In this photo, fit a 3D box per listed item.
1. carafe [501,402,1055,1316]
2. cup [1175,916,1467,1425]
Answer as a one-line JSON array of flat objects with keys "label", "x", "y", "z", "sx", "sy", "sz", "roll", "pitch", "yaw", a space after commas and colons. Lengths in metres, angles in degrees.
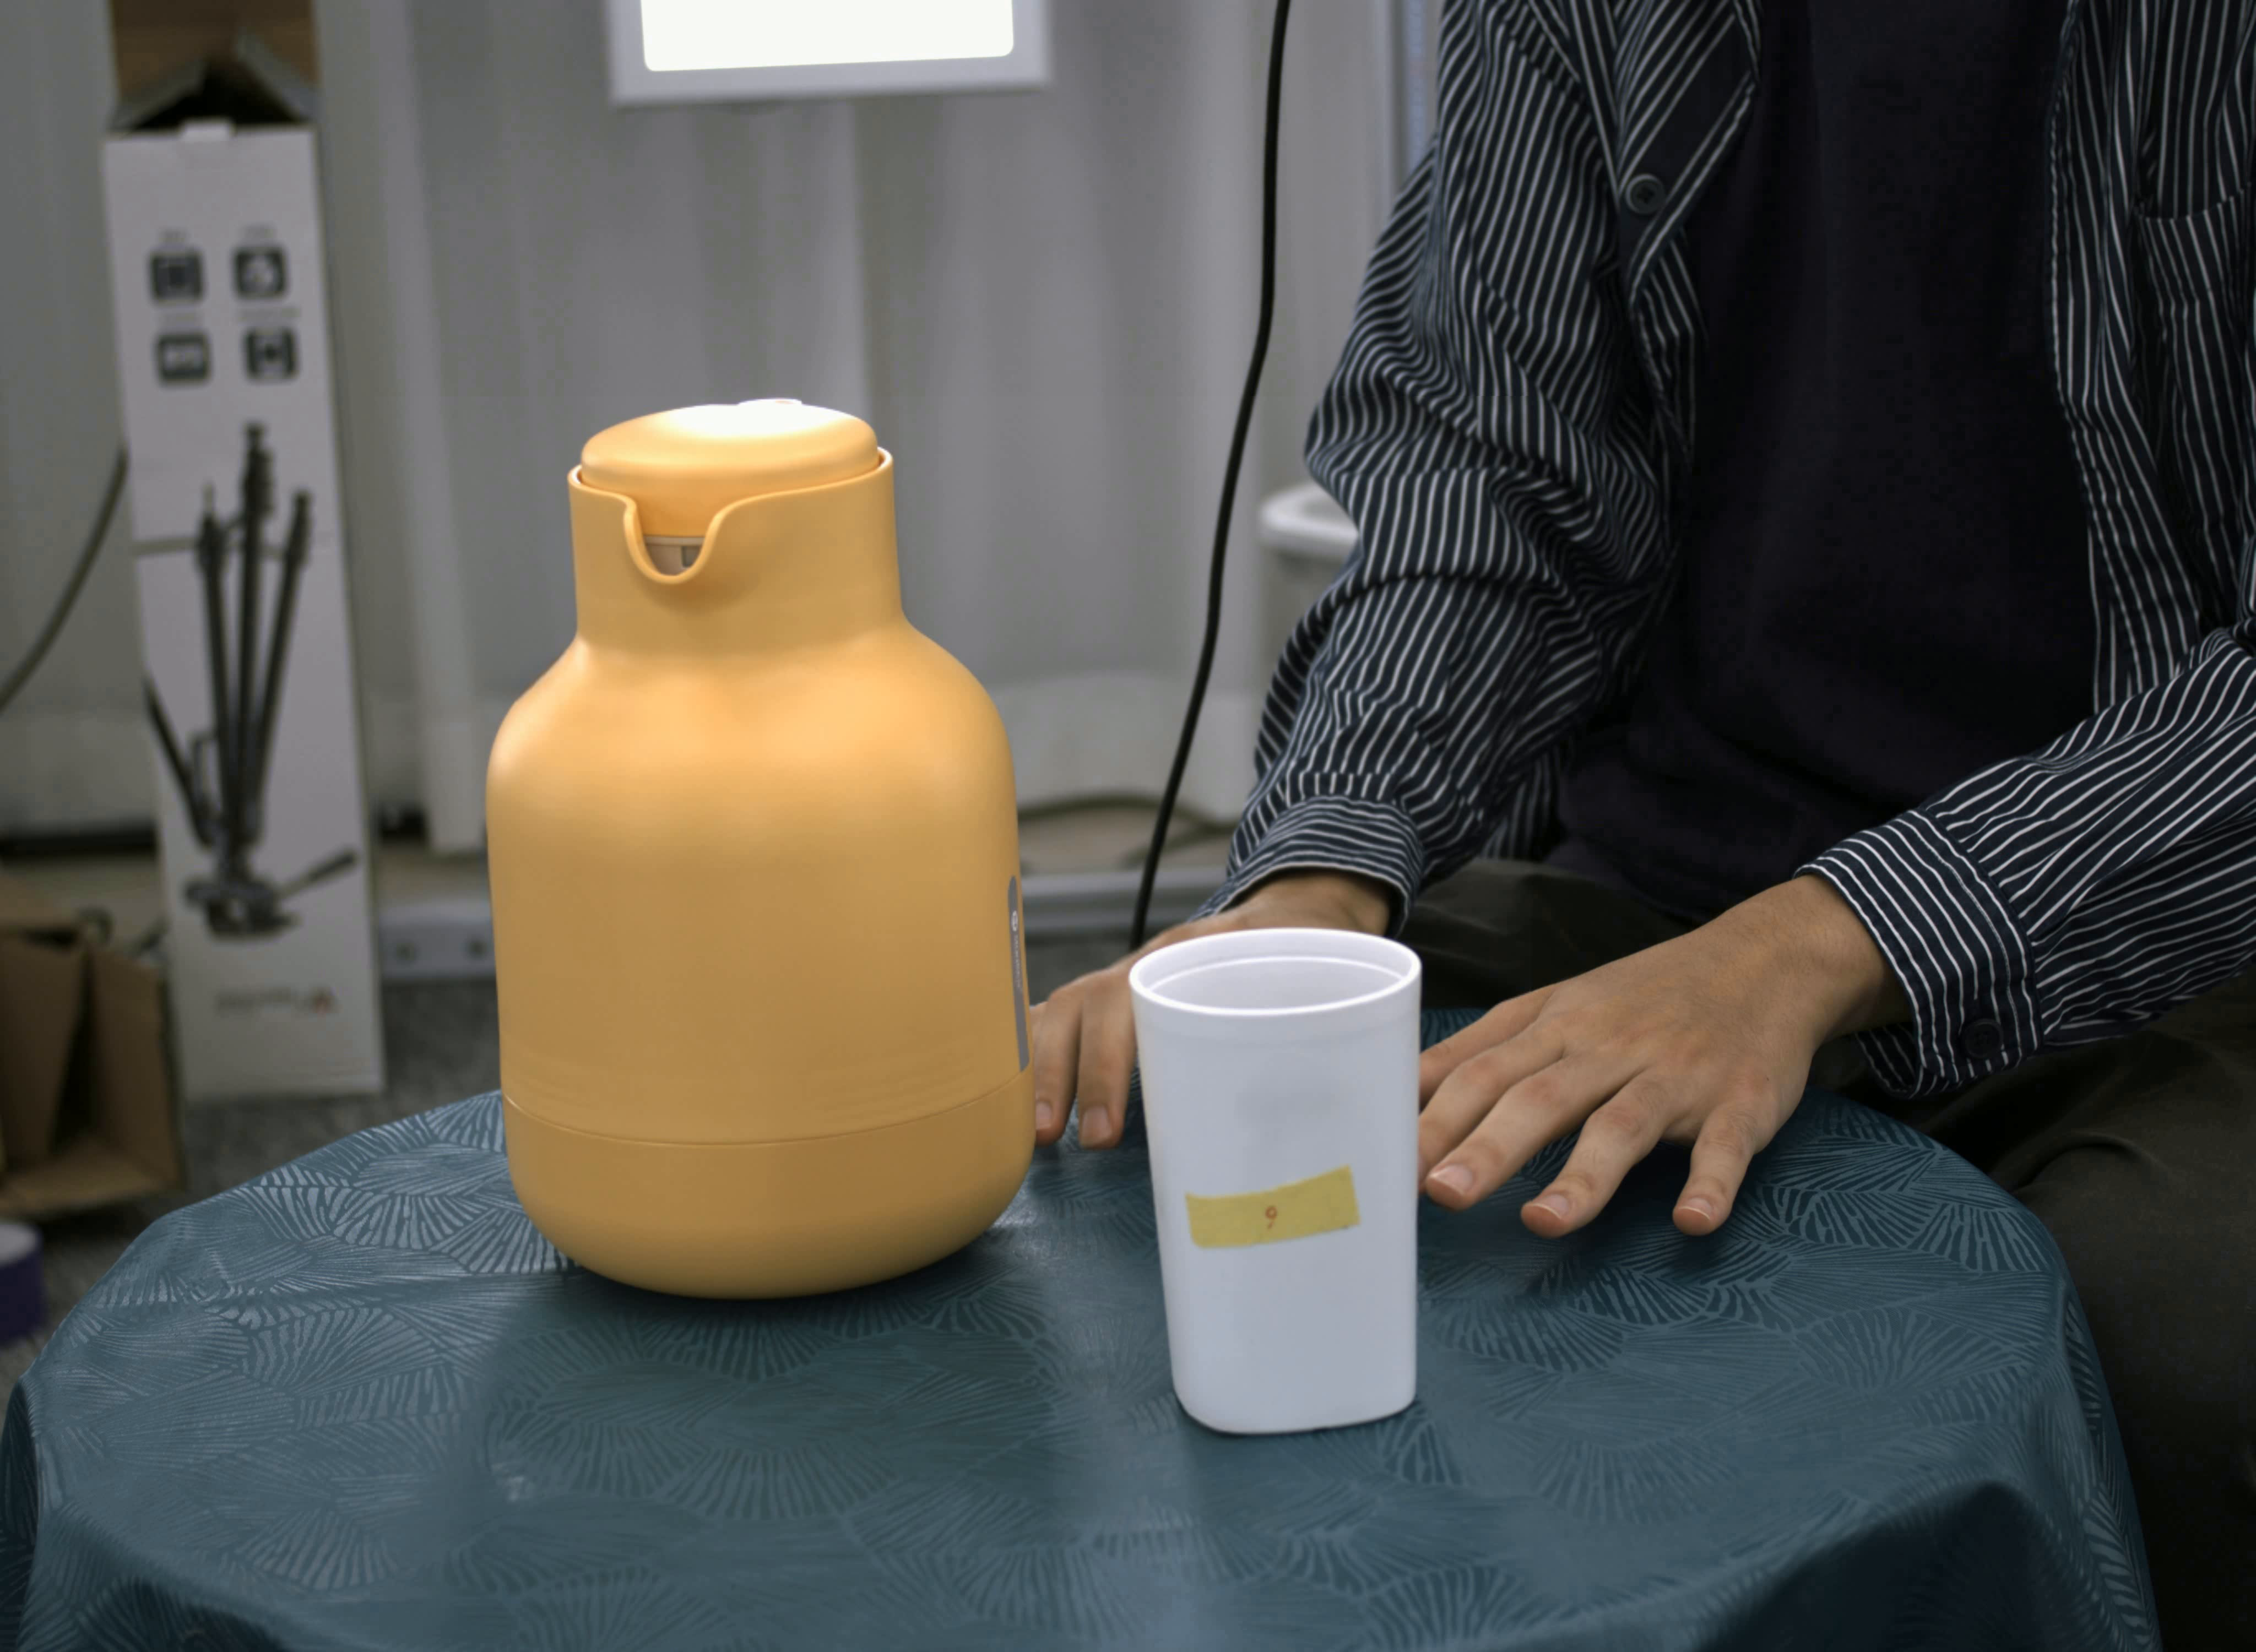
[{"label": "carafe", "x": -0.103, "y": 0.002, "z": 1.663, "sx": 0.163, "sy": 0.259, "sz": 0.203, "roll": 1, "pitch": 14, "yaw": 8}, {"label": "cup", "x": 0.057, "y": 0.096, "z": 1.523, "sx": 0.081, "sy": 0.125, "sz": 0.082, "roll": -3, "pitch": 14, "yaw": 1}]
